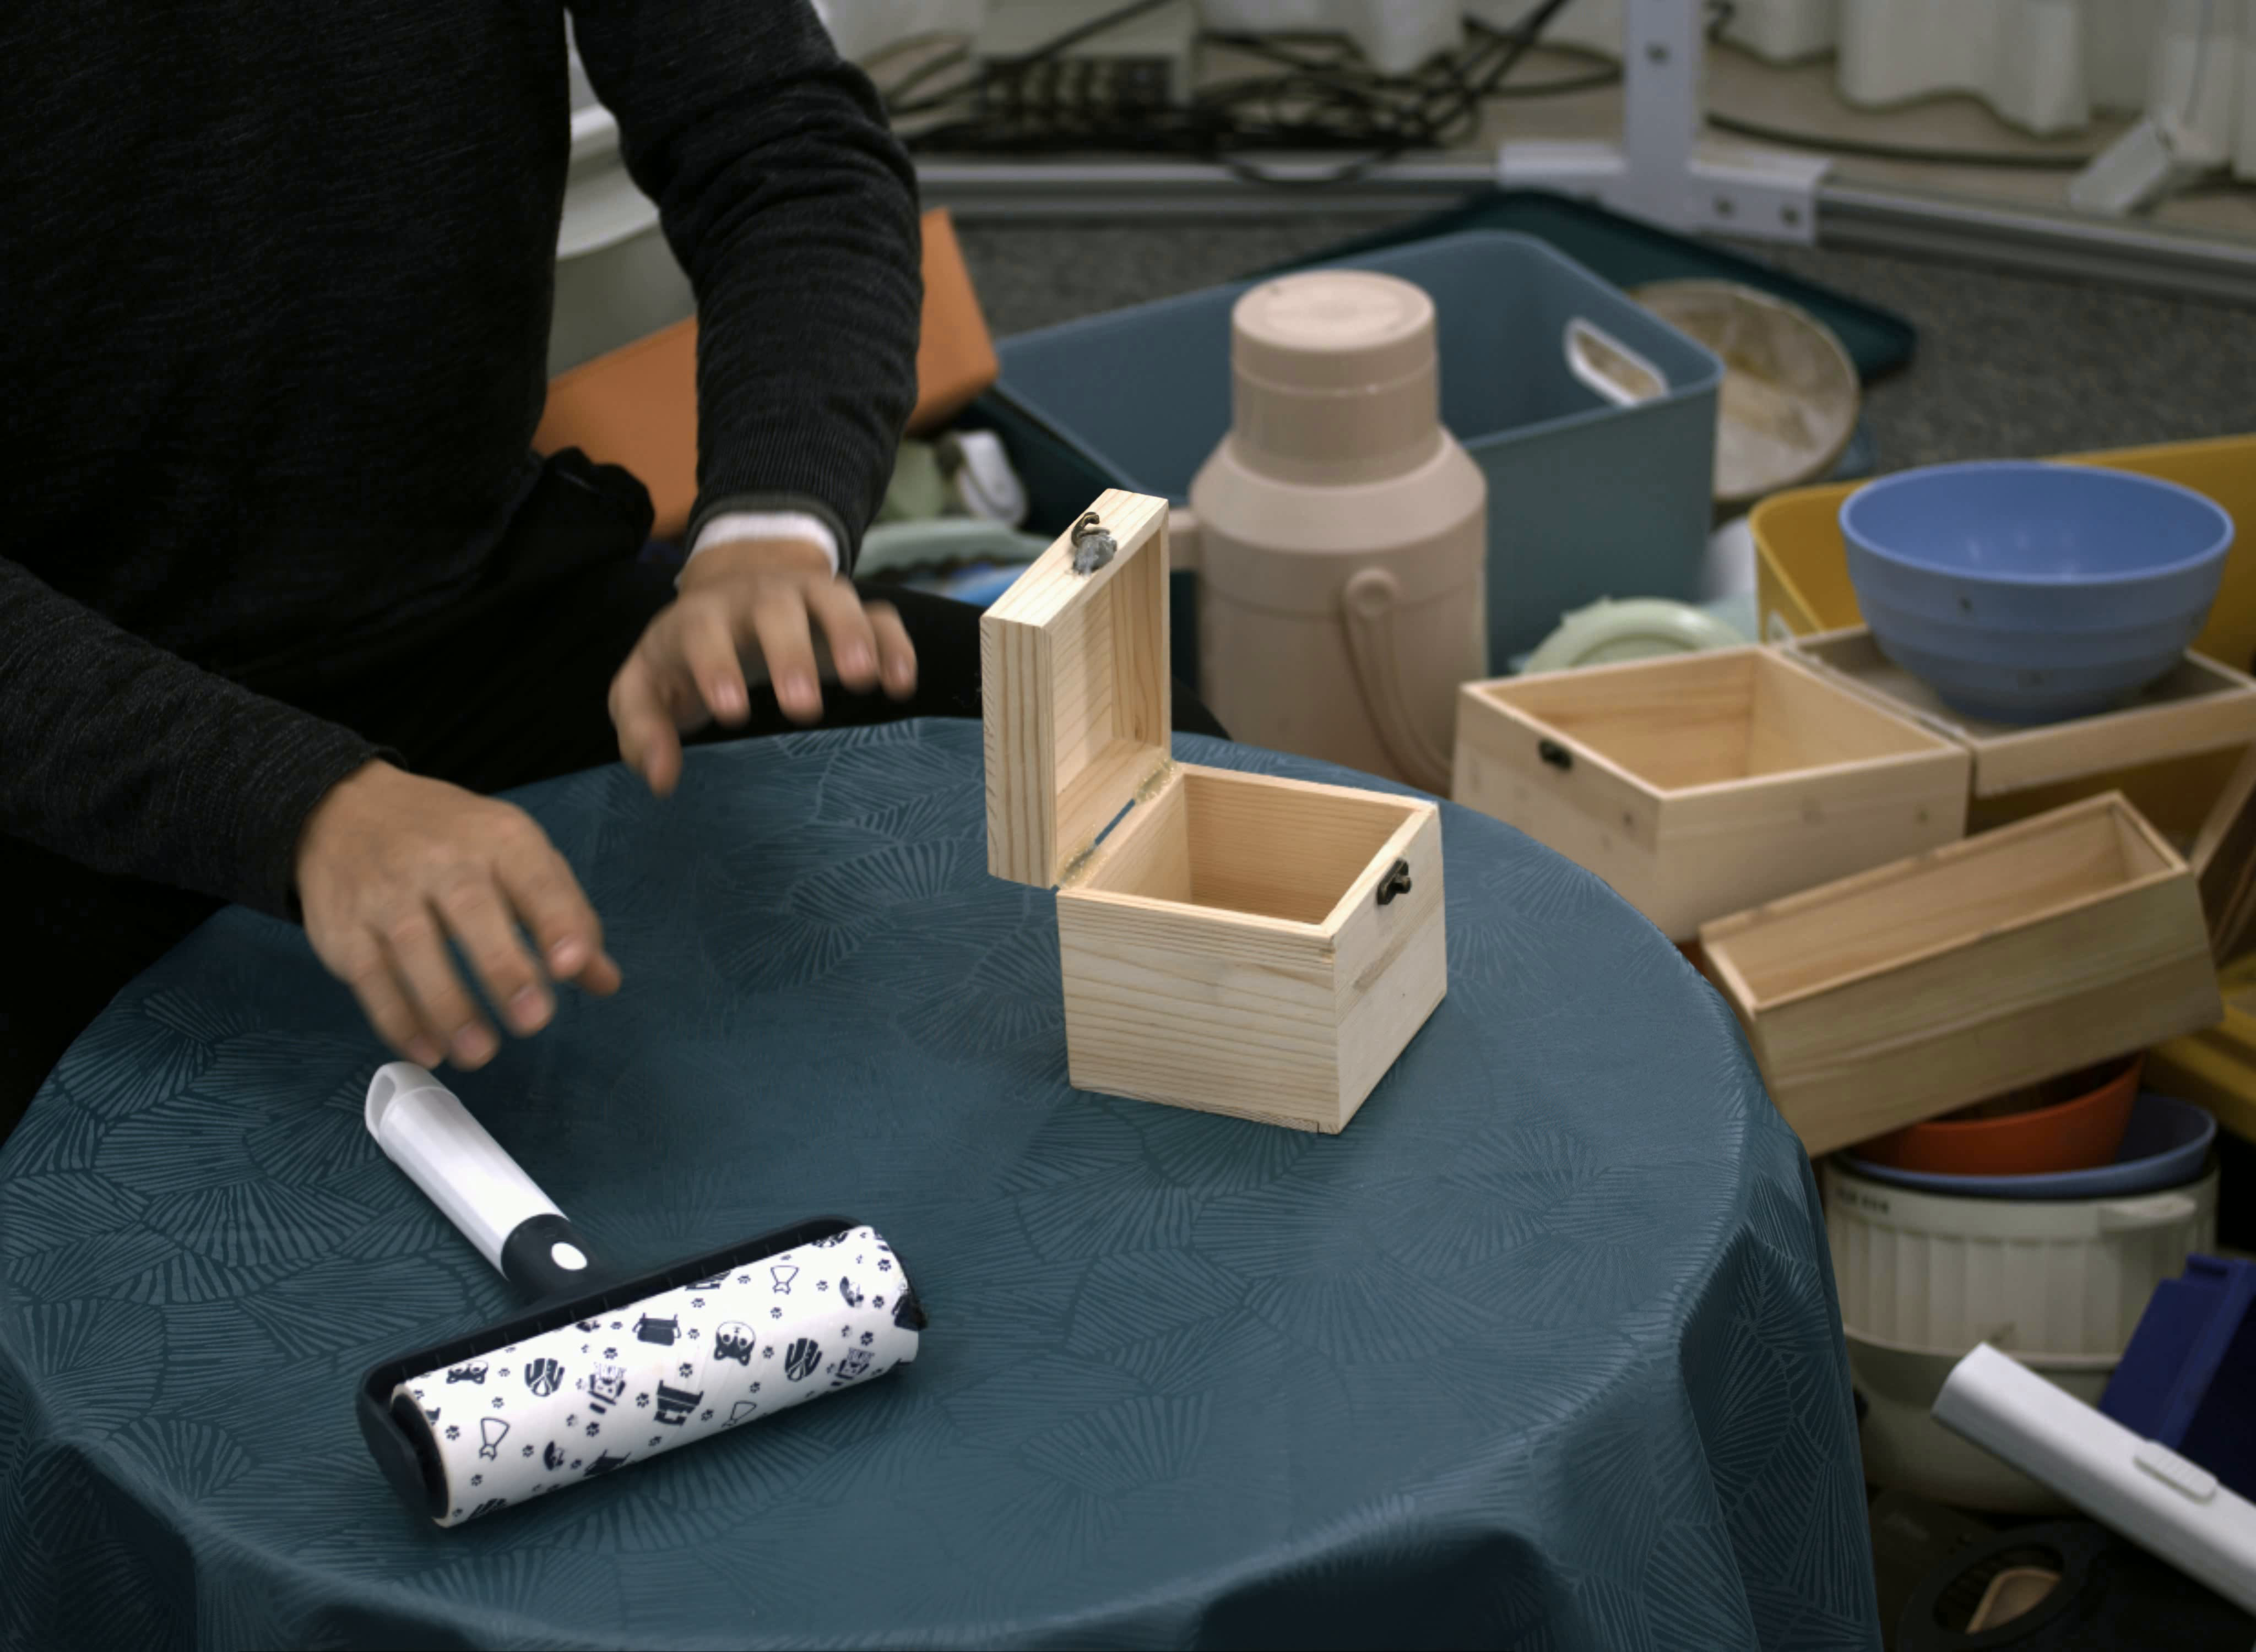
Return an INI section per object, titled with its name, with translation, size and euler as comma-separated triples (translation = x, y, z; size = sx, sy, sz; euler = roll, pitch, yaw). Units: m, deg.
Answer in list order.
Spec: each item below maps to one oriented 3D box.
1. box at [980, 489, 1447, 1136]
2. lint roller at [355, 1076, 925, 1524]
[box]
translation = 0.033, -0.007, 1.910
size = 0.133, 0.182, 0.104
euler = 7, 27, 22
[lint roller]
translation = -0.196, 0.132, 1.814
size = 0.177, 0.050, 0.248
euler = -18, 30, -25
